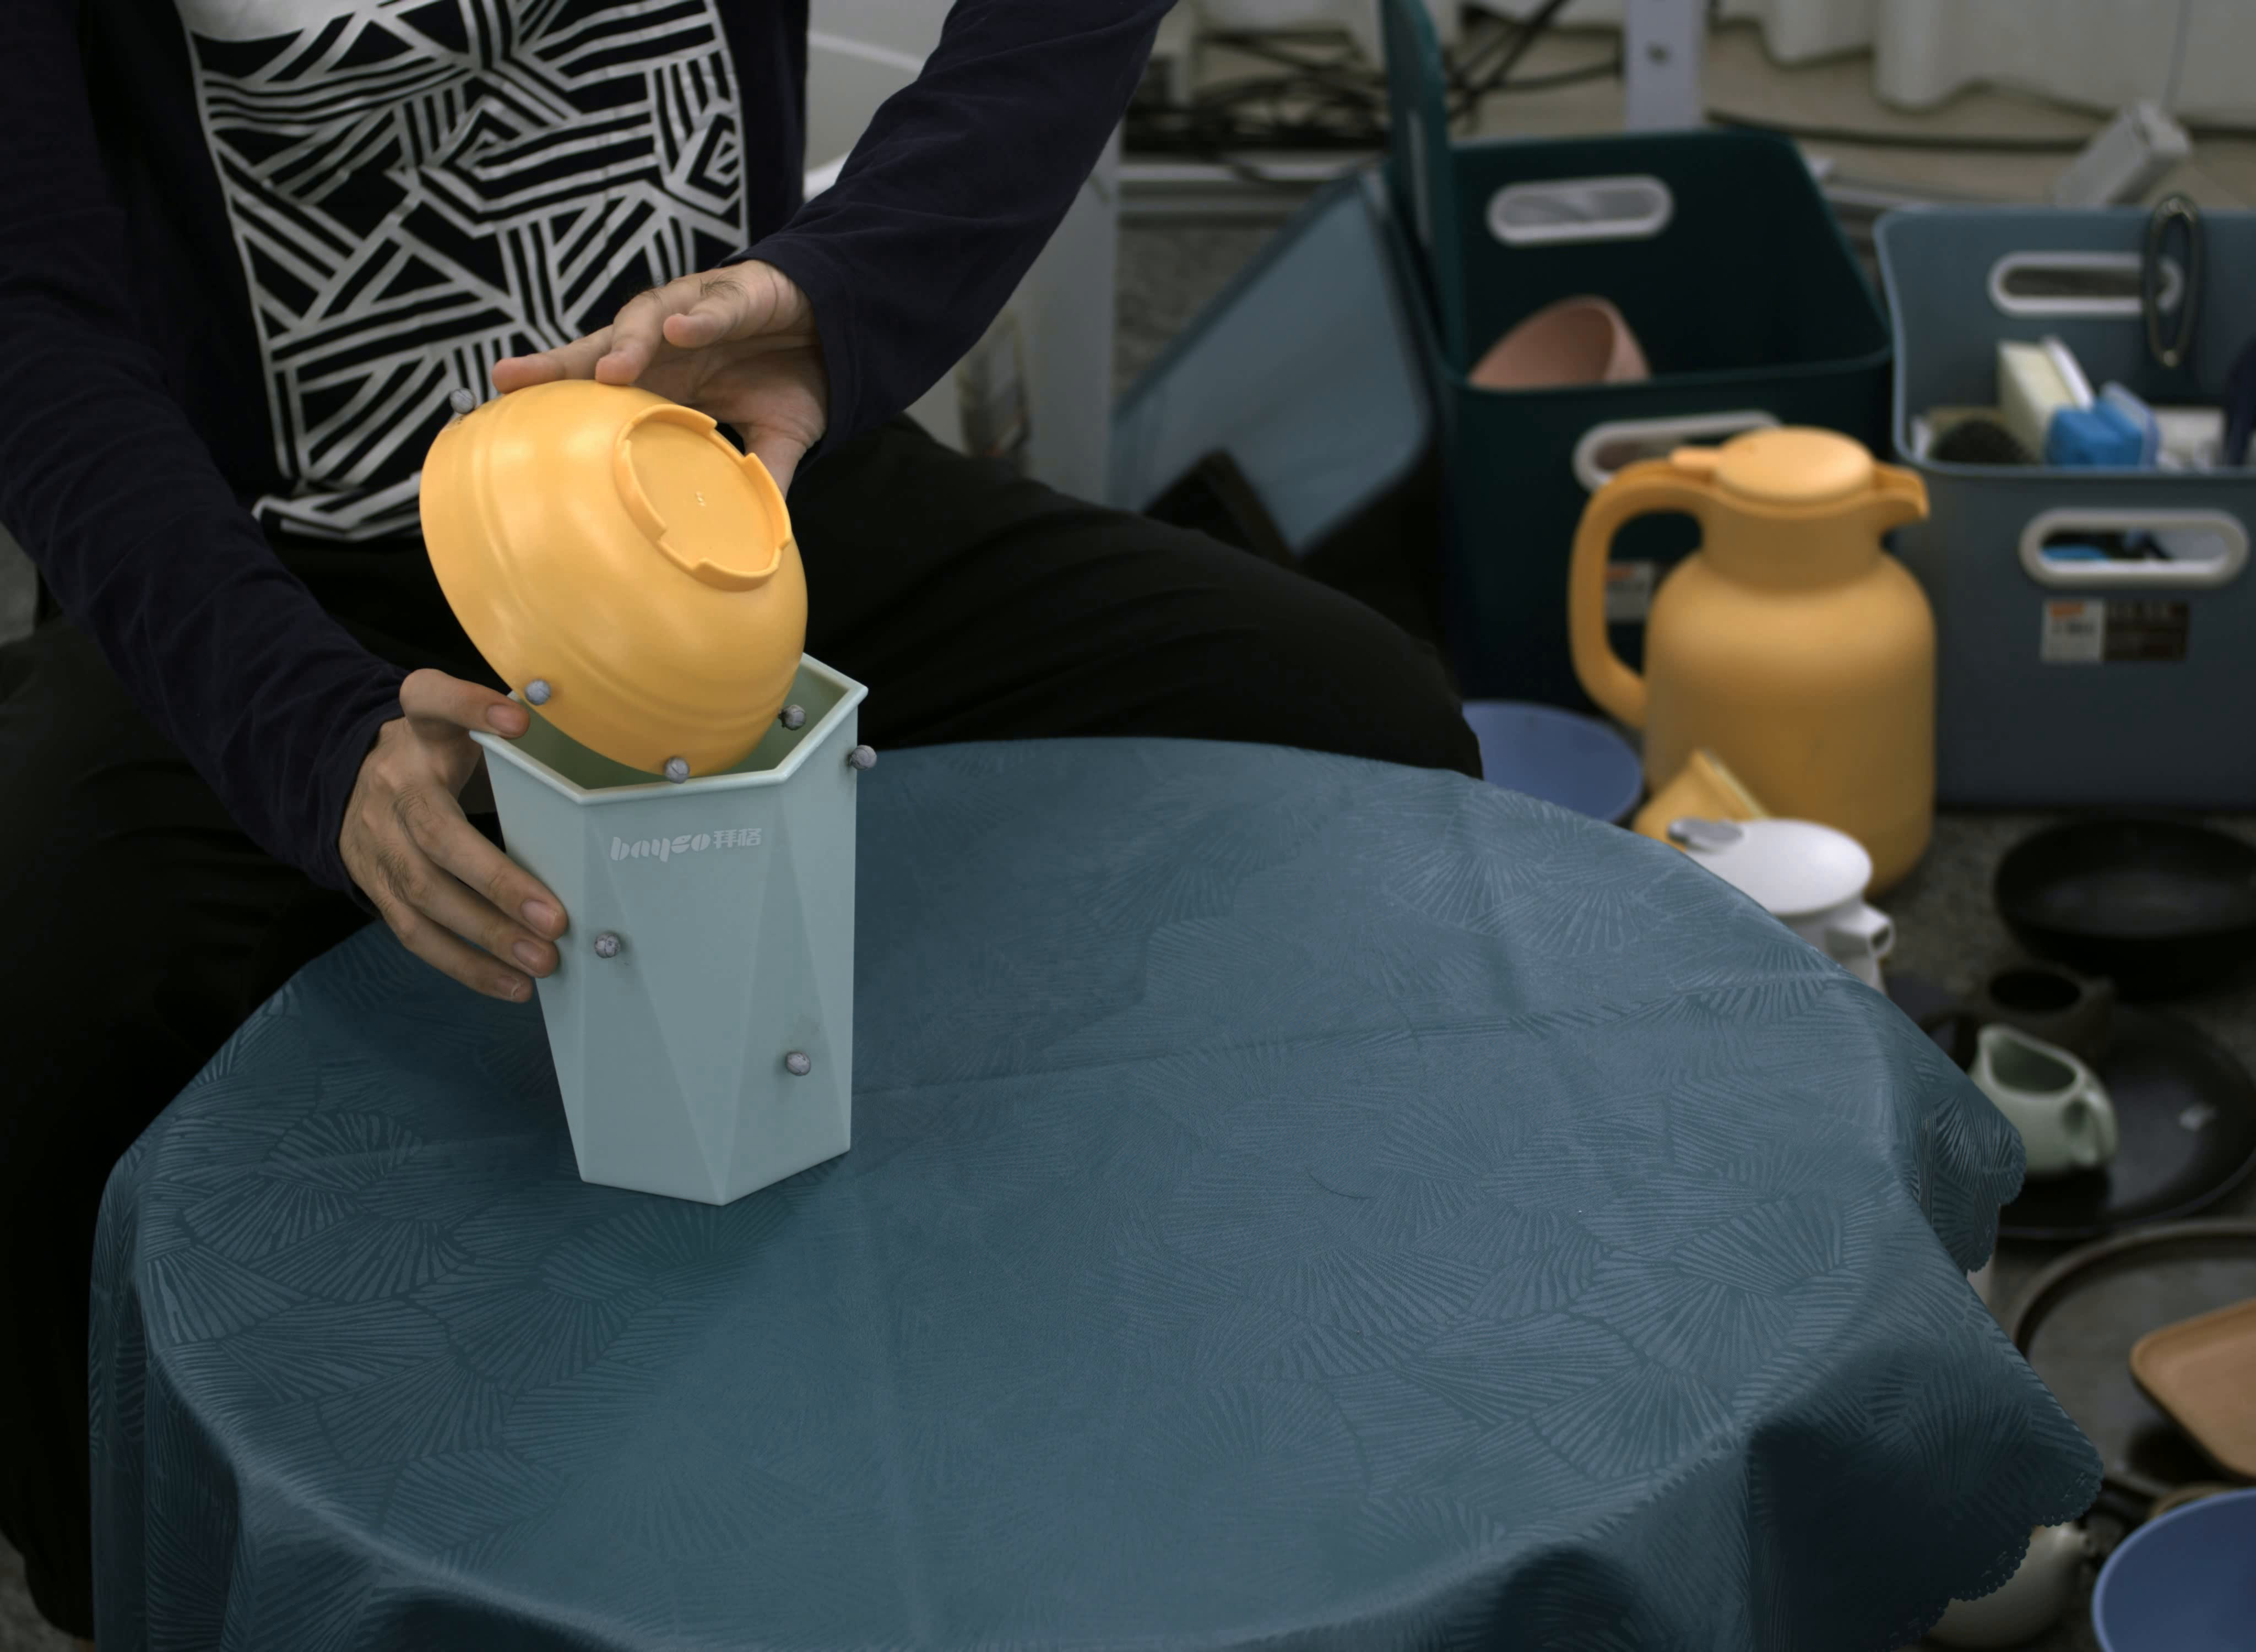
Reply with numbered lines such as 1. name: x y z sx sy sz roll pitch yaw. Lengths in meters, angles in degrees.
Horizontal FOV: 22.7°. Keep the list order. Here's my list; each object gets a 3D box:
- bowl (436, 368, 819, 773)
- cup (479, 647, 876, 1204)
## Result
1. bowl: -0.147 -0.094 1.804 0.059 0.145 0.148 -37 8 33
2. cup: -0.144 0.031 1.872 0.131 0.161 0.116 -6 25 -8
